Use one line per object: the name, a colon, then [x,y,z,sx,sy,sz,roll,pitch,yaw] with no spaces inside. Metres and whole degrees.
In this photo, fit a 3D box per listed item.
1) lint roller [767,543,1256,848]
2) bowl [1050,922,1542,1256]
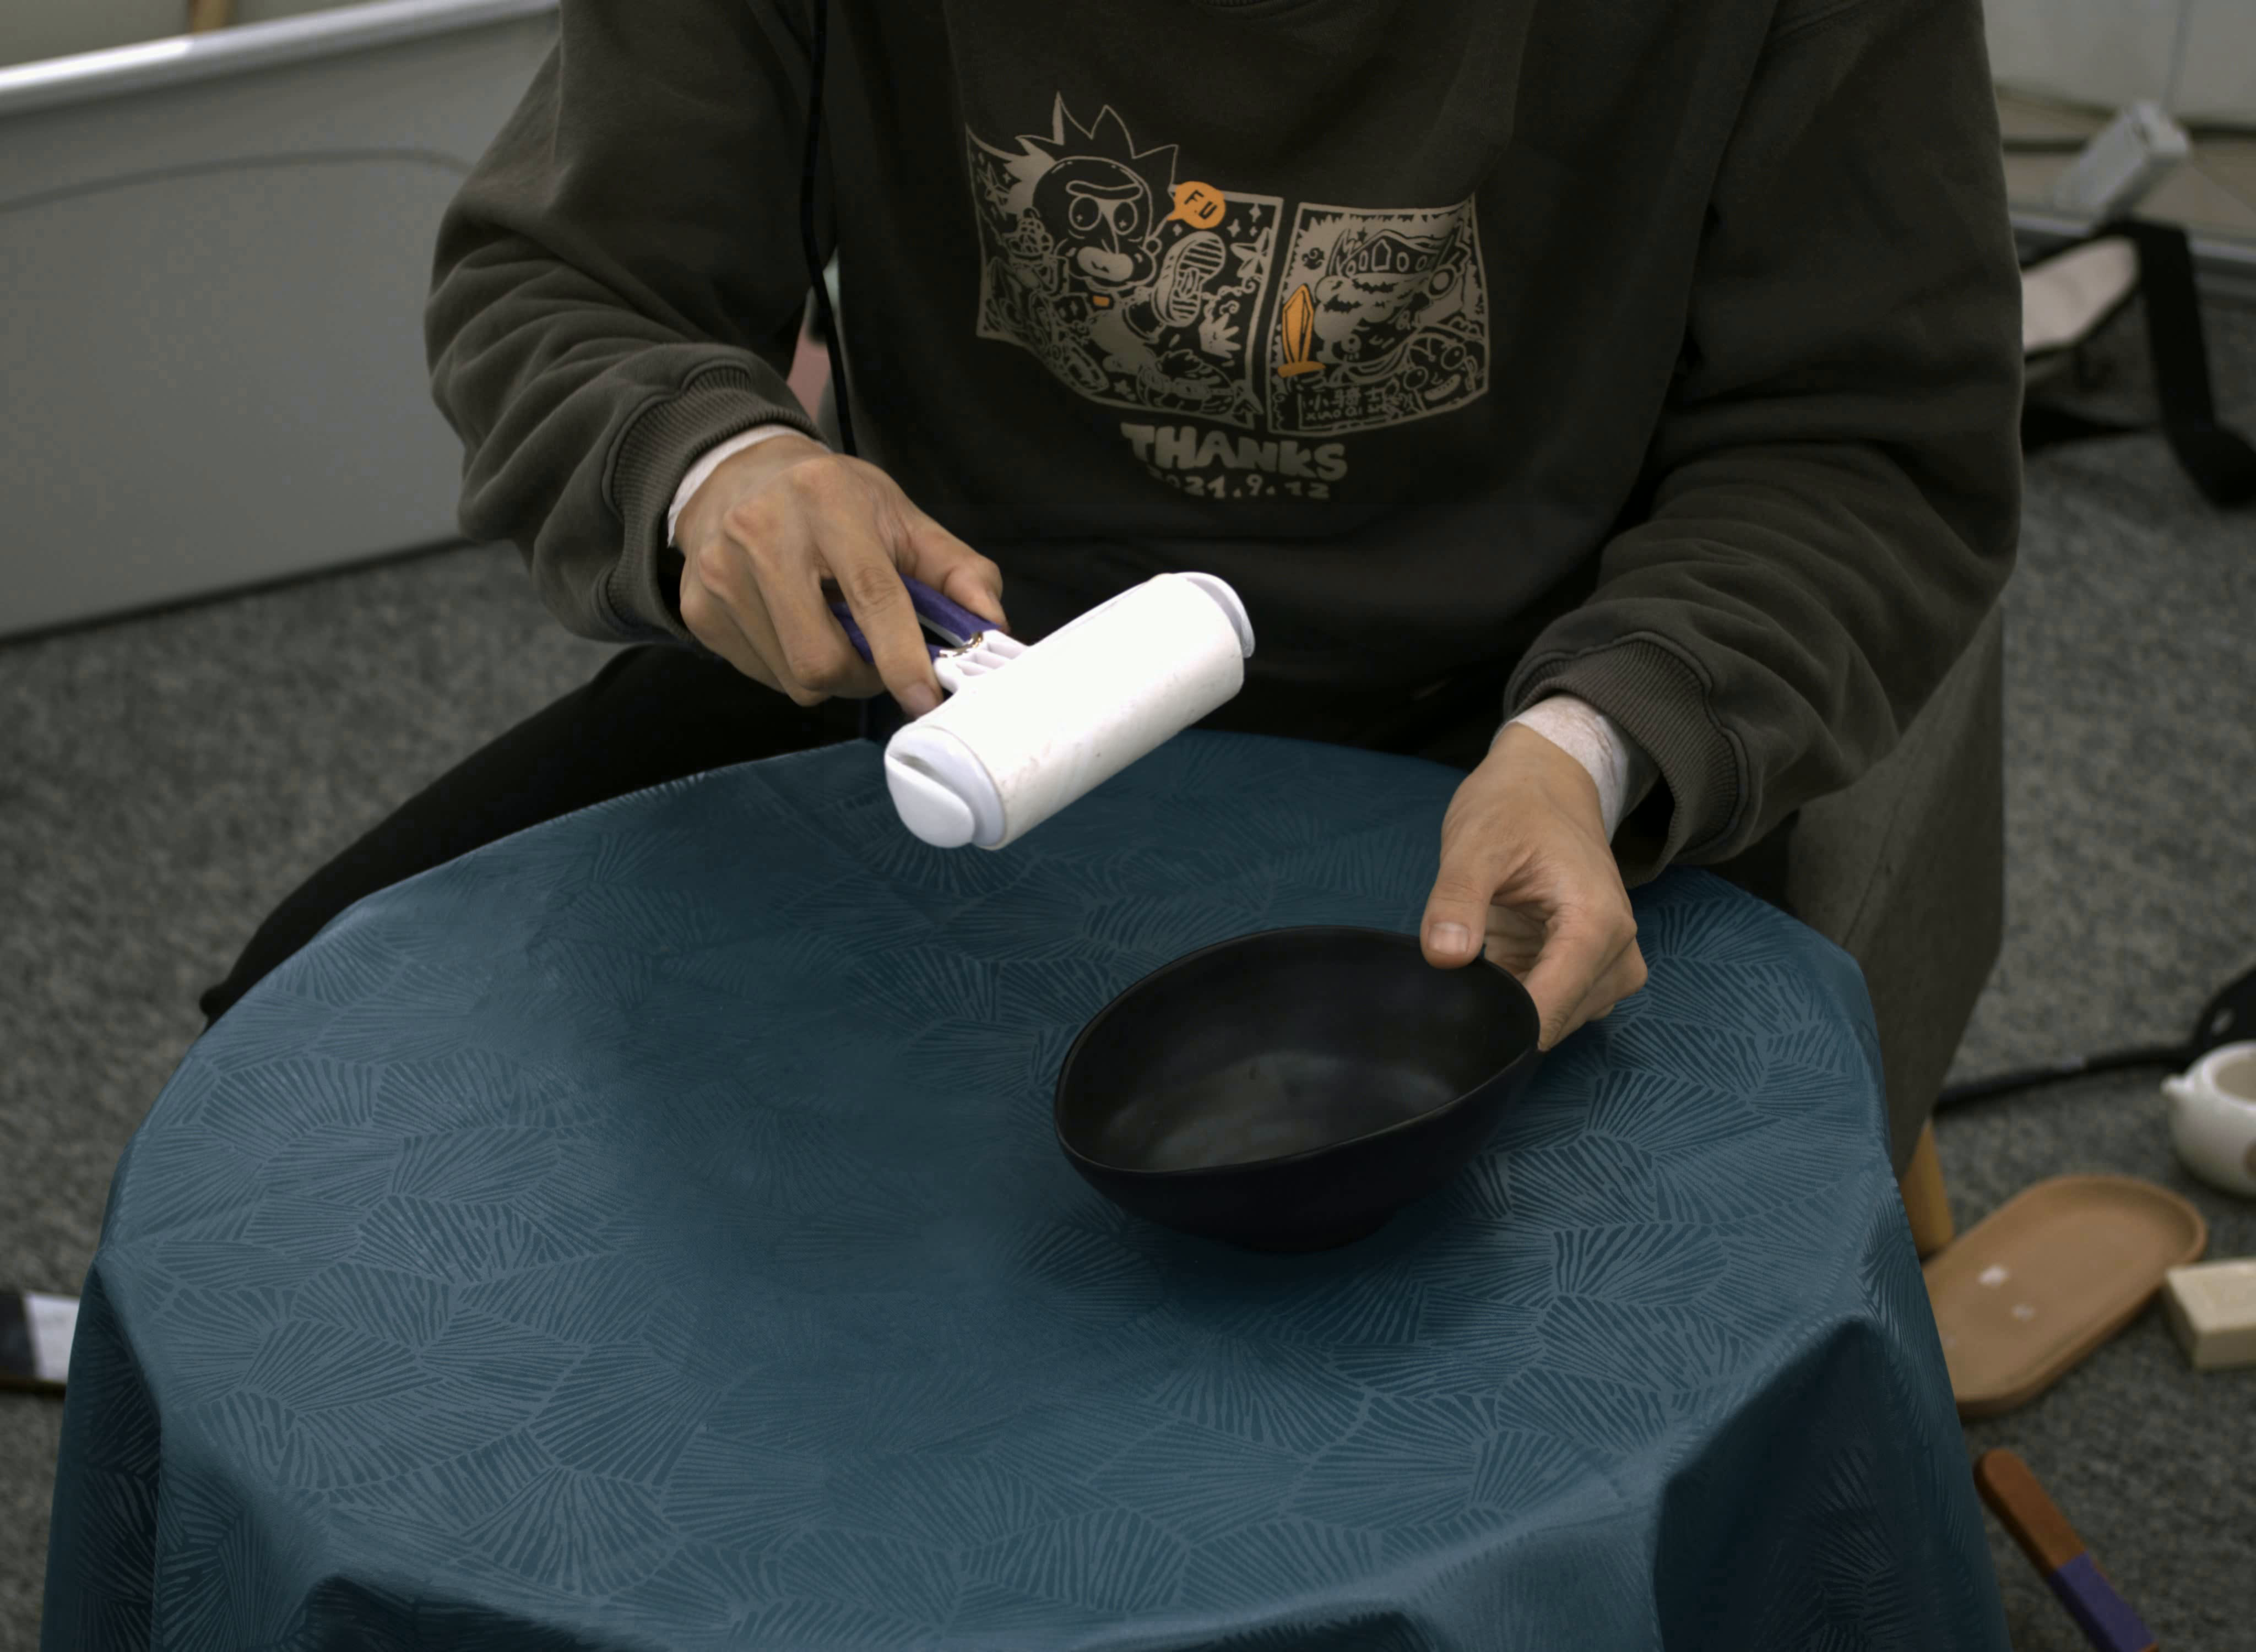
lint roller: [-0.056,-0.065,1.811,0.134,0.049,0.181,-32,46,-27]
bowl: [0.057,0.096,1.836,0.171,0.066,0.137,-21,31,-27]
